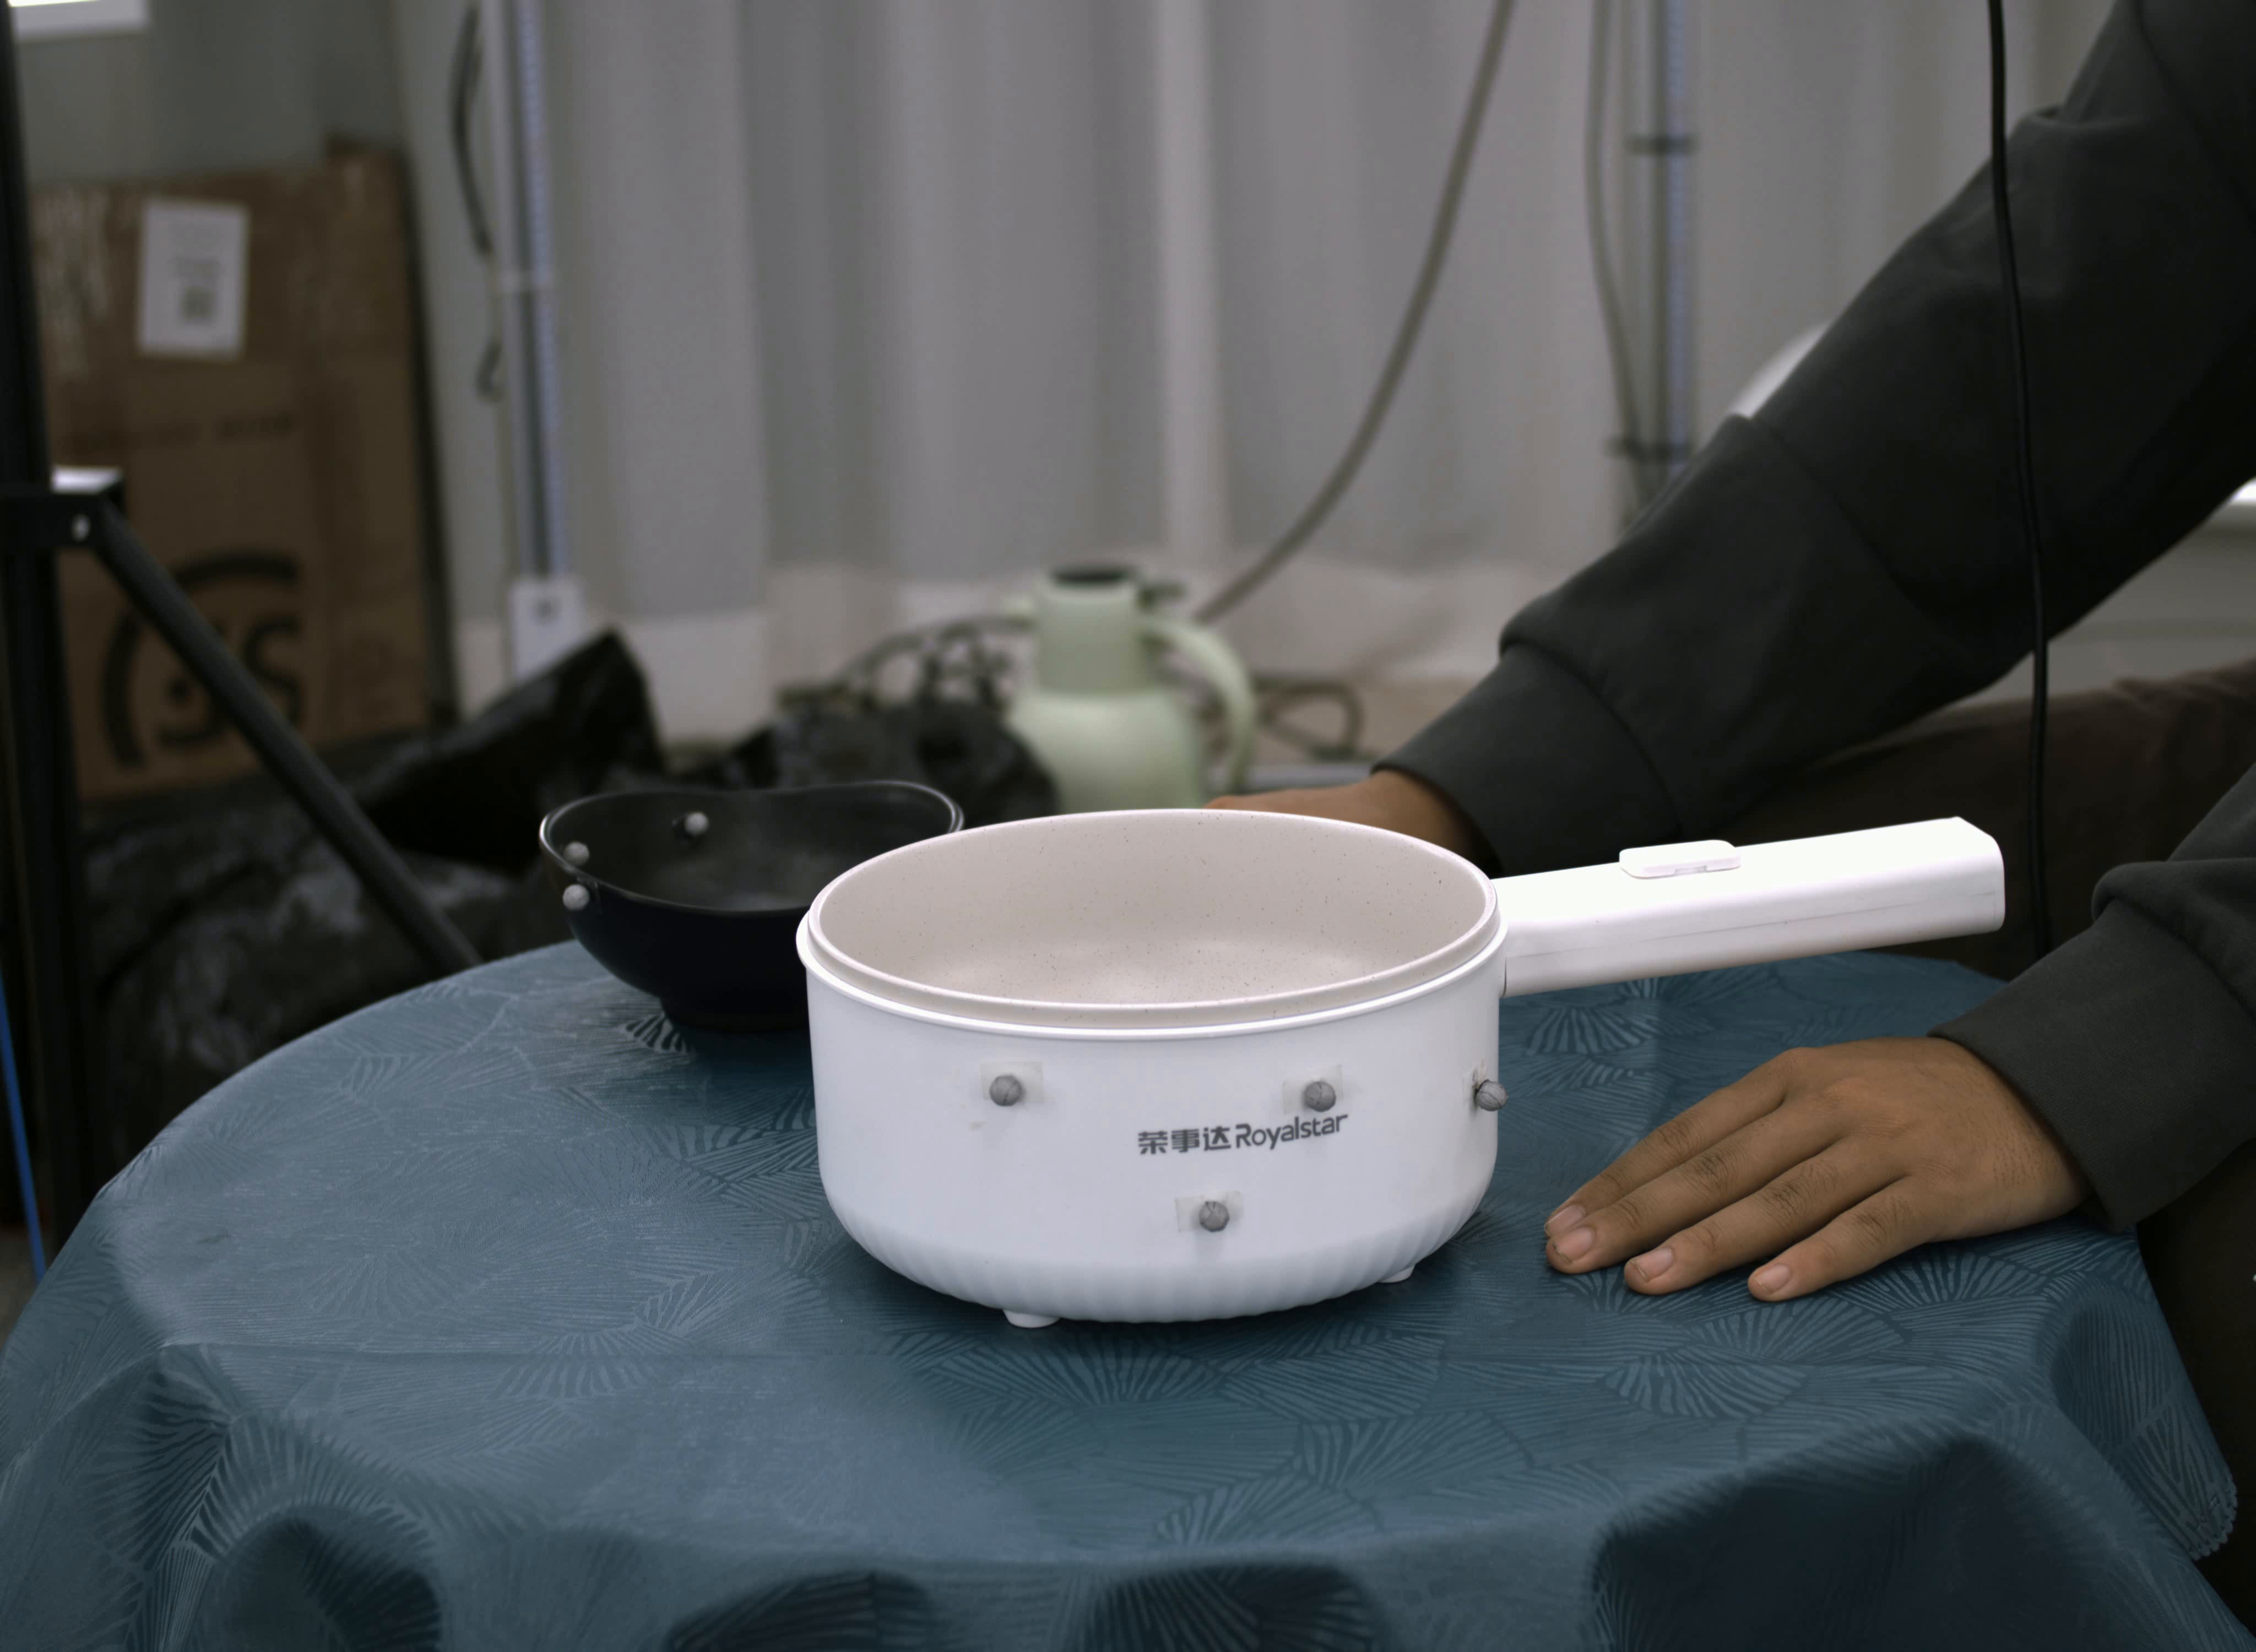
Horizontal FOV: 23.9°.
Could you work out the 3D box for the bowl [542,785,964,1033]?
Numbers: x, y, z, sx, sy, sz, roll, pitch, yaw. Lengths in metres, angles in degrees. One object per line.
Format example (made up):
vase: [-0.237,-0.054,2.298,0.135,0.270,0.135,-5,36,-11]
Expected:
bowl: [-0.121,0.028,1.738,0.136,0.067,0.171,-3,14,-2]

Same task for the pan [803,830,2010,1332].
pan: [0.082,0.068,1.524,0.349,0.102,0.204,-4,14,-14]
